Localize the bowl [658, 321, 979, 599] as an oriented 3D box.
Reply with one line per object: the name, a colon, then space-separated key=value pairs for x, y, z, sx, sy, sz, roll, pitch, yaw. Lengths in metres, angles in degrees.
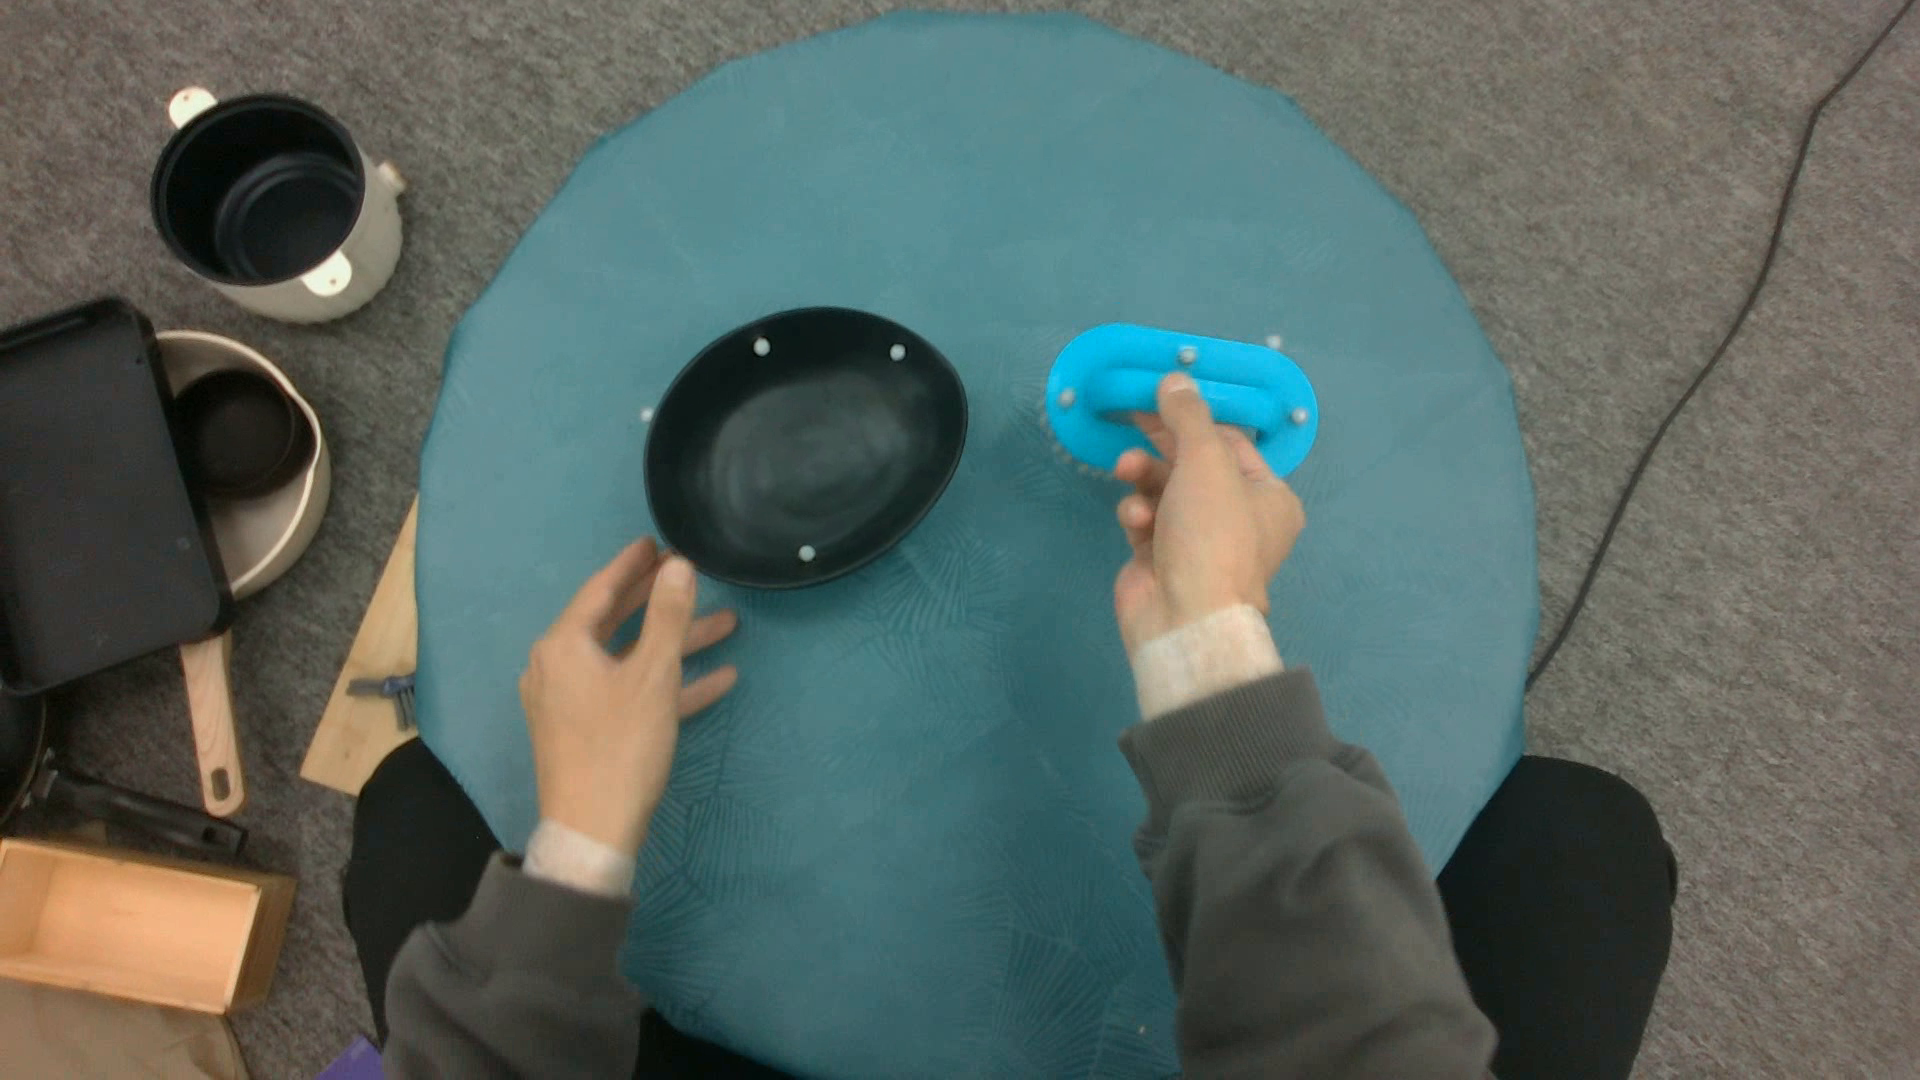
bowl: x=-0.073 y=-0.039 z=0.720 sx=0.170 sy=0.066 sz=0.137 roll=-32 pitch=82 yaw=-10

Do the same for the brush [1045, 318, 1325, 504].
brush: x=0.114 y=-0.066 z=0.691 sx=0.142 sy=0.064 sz=0.084 roll=10 pitch=91 yaw=-1
